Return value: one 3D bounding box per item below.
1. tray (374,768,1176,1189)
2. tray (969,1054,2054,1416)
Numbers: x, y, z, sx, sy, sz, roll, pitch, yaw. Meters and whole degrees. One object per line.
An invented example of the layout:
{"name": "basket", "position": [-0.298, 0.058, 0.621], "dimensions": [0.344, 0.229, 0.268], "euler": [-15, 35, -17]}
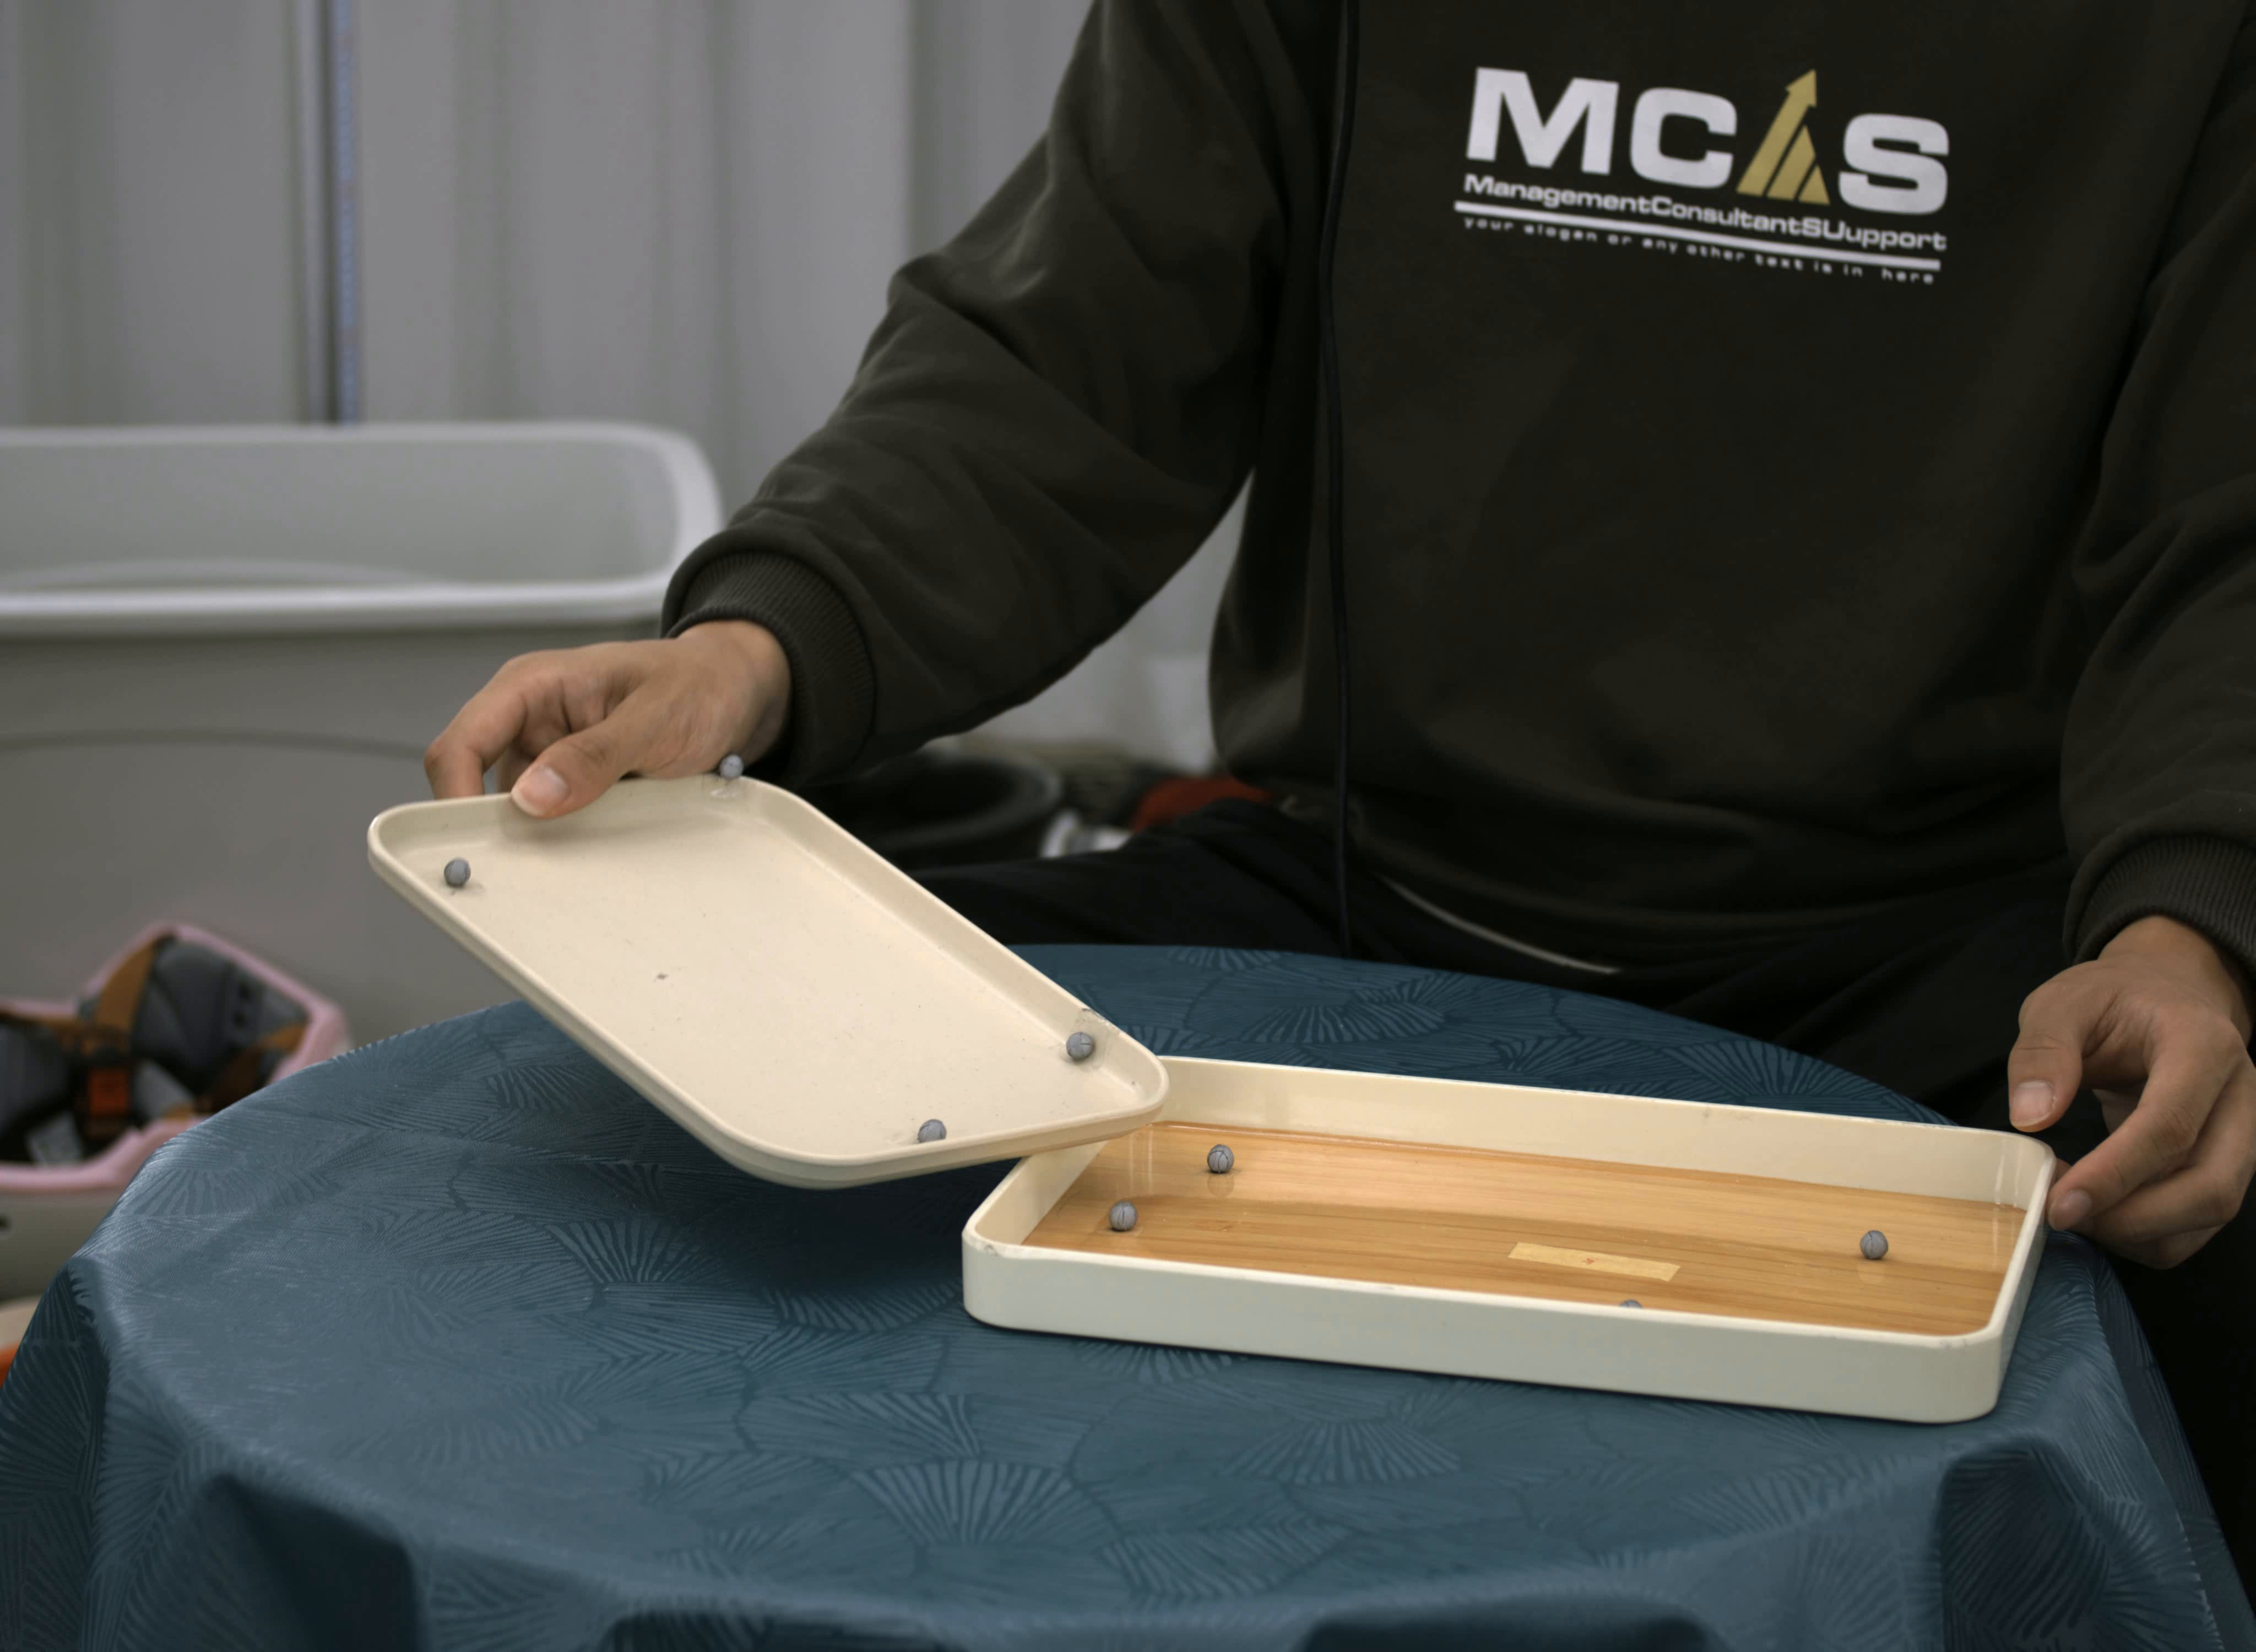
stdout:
{"name": "tray", "position": [-0.112, 0.045, 1.631], "dimensions": [0.172, 0.017, 0.236], "euler": [-7, 32, -43]}
{"name": "tray", "position": [0.118, 0.119, 1.566], "dimensions": [0.298, 0.027, 0.191], "euler": [5, 16, 13]}
